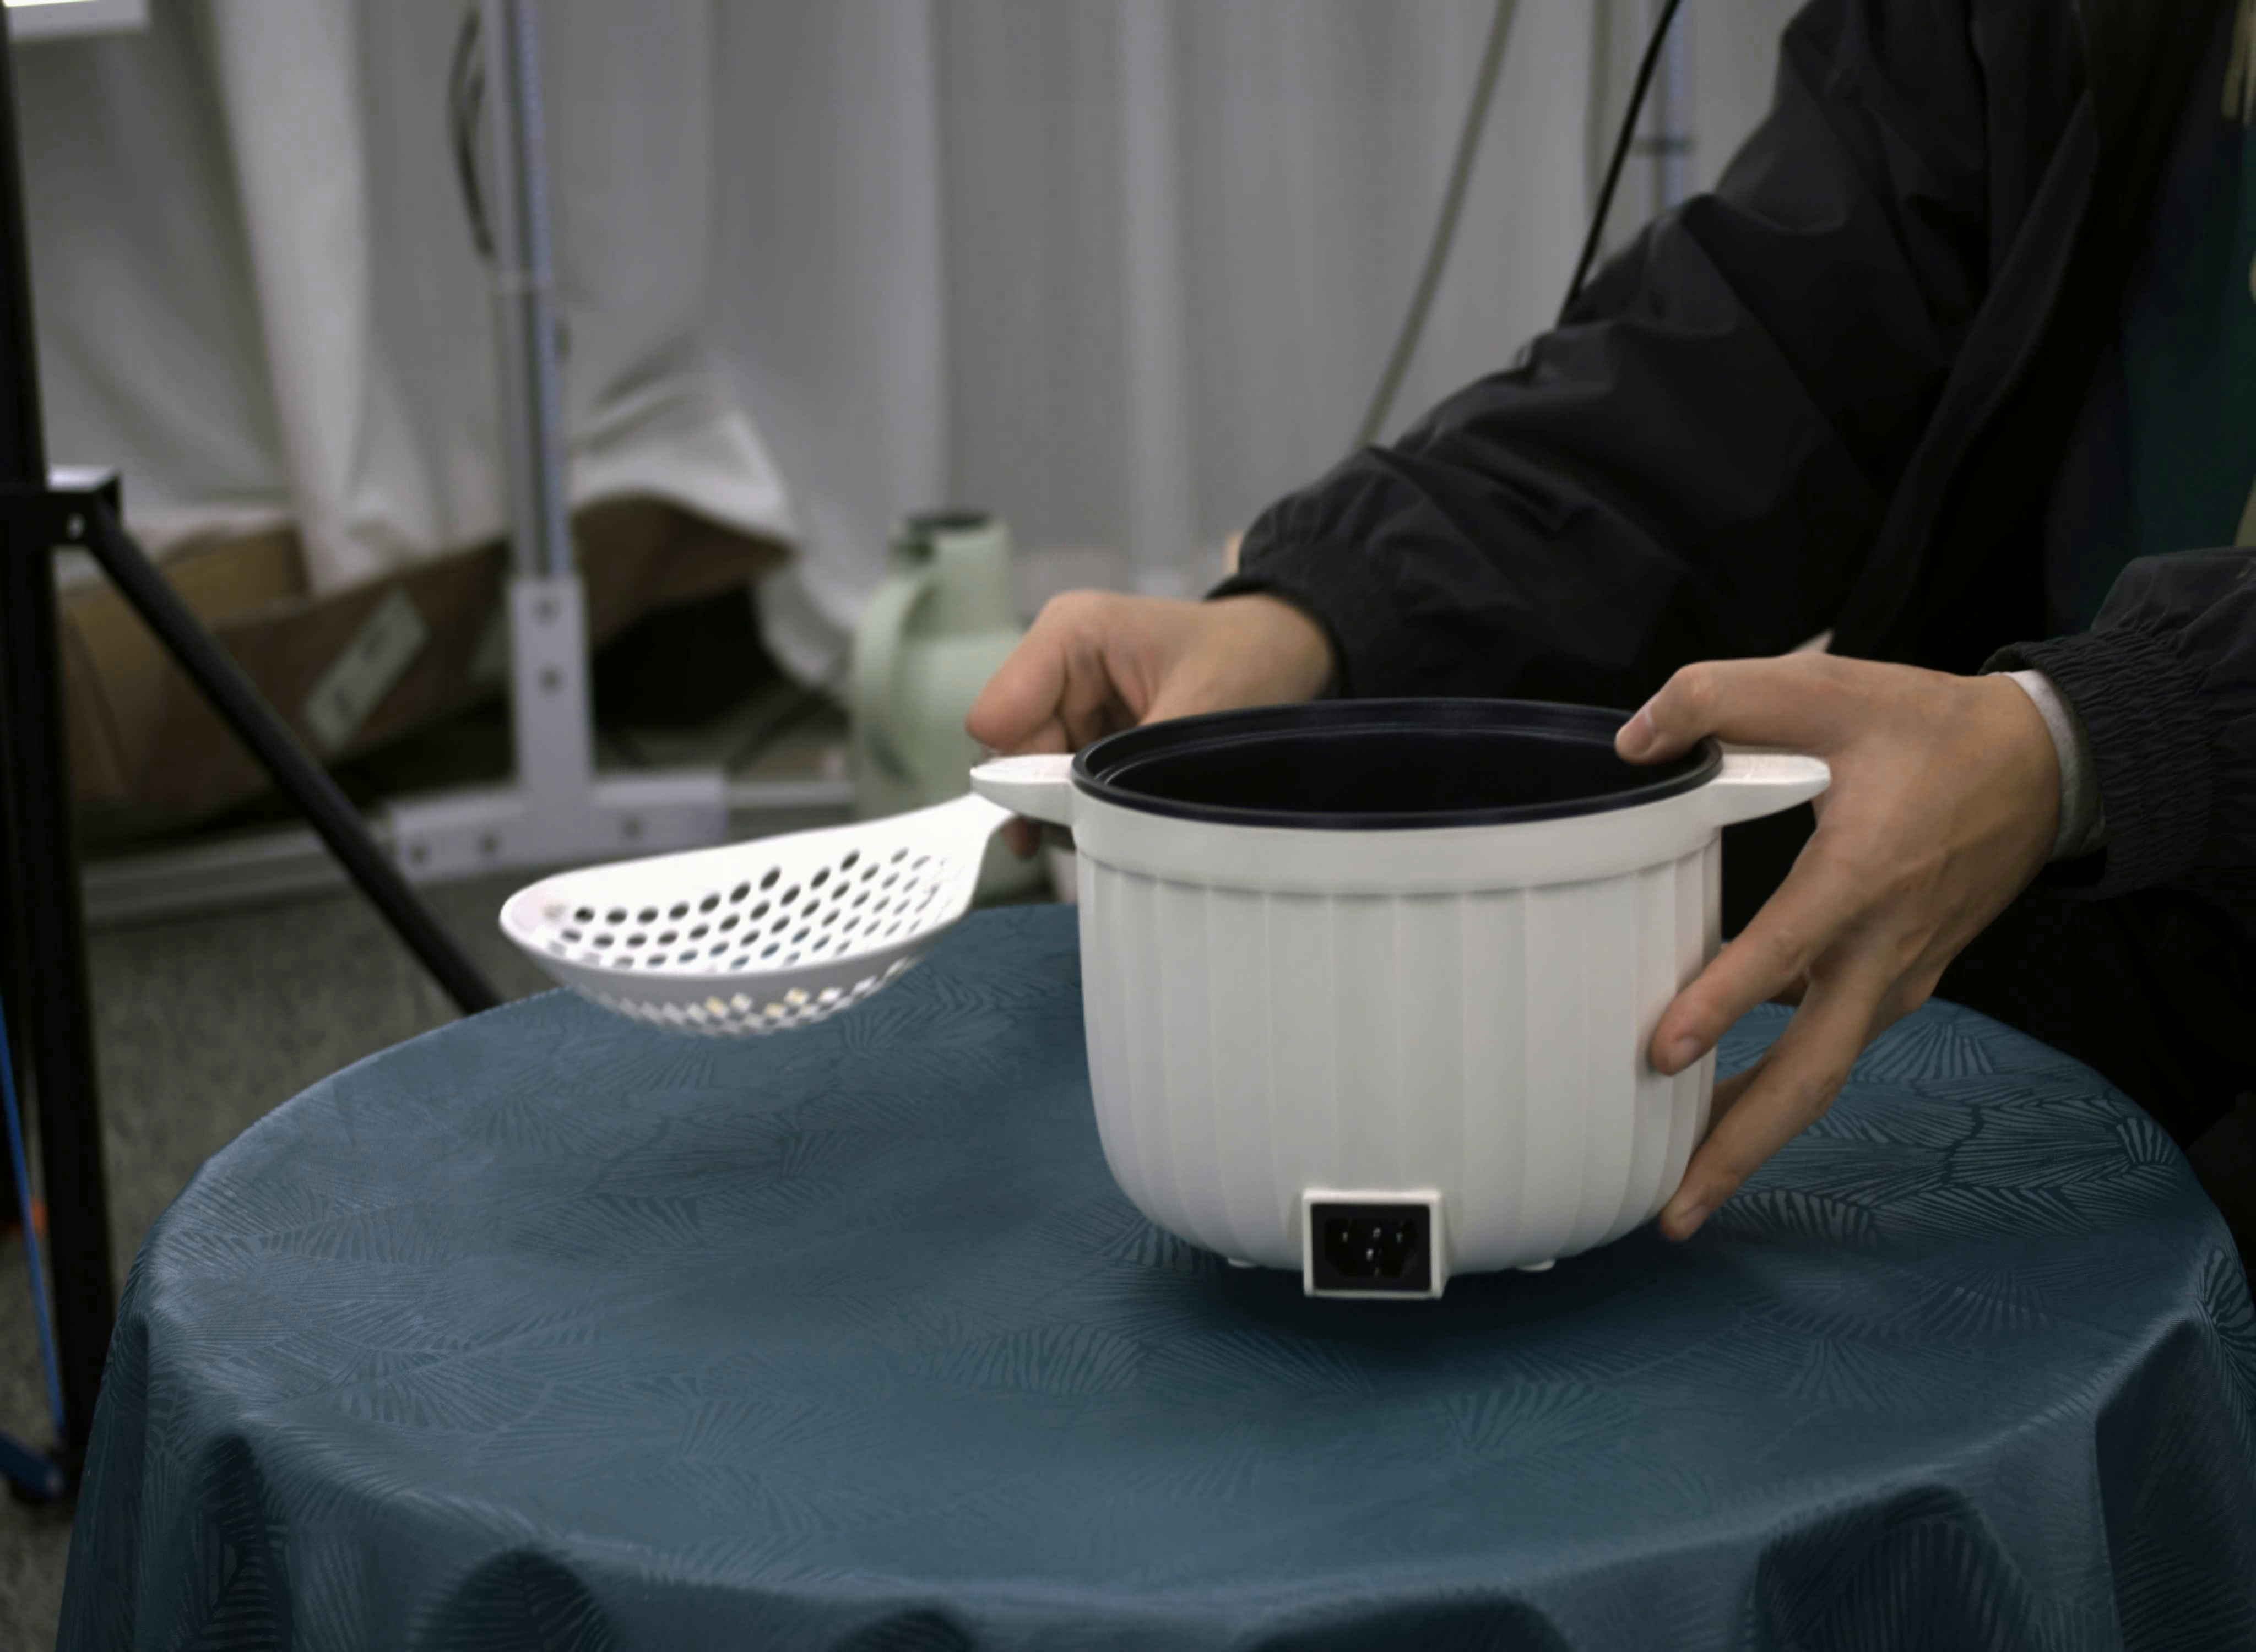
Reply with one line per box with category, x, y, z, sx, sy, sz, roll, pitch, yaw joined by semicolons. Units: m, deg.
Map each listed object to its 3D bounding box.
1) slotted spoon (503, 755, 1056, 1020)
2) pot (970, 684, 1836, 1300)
slotted spoon;-0.060;0.007;1.682;0.139;0.050;0.342;6;19;31
pot;0.076;0.043;1.484;0.241;0.143;0.190;1;14;9
